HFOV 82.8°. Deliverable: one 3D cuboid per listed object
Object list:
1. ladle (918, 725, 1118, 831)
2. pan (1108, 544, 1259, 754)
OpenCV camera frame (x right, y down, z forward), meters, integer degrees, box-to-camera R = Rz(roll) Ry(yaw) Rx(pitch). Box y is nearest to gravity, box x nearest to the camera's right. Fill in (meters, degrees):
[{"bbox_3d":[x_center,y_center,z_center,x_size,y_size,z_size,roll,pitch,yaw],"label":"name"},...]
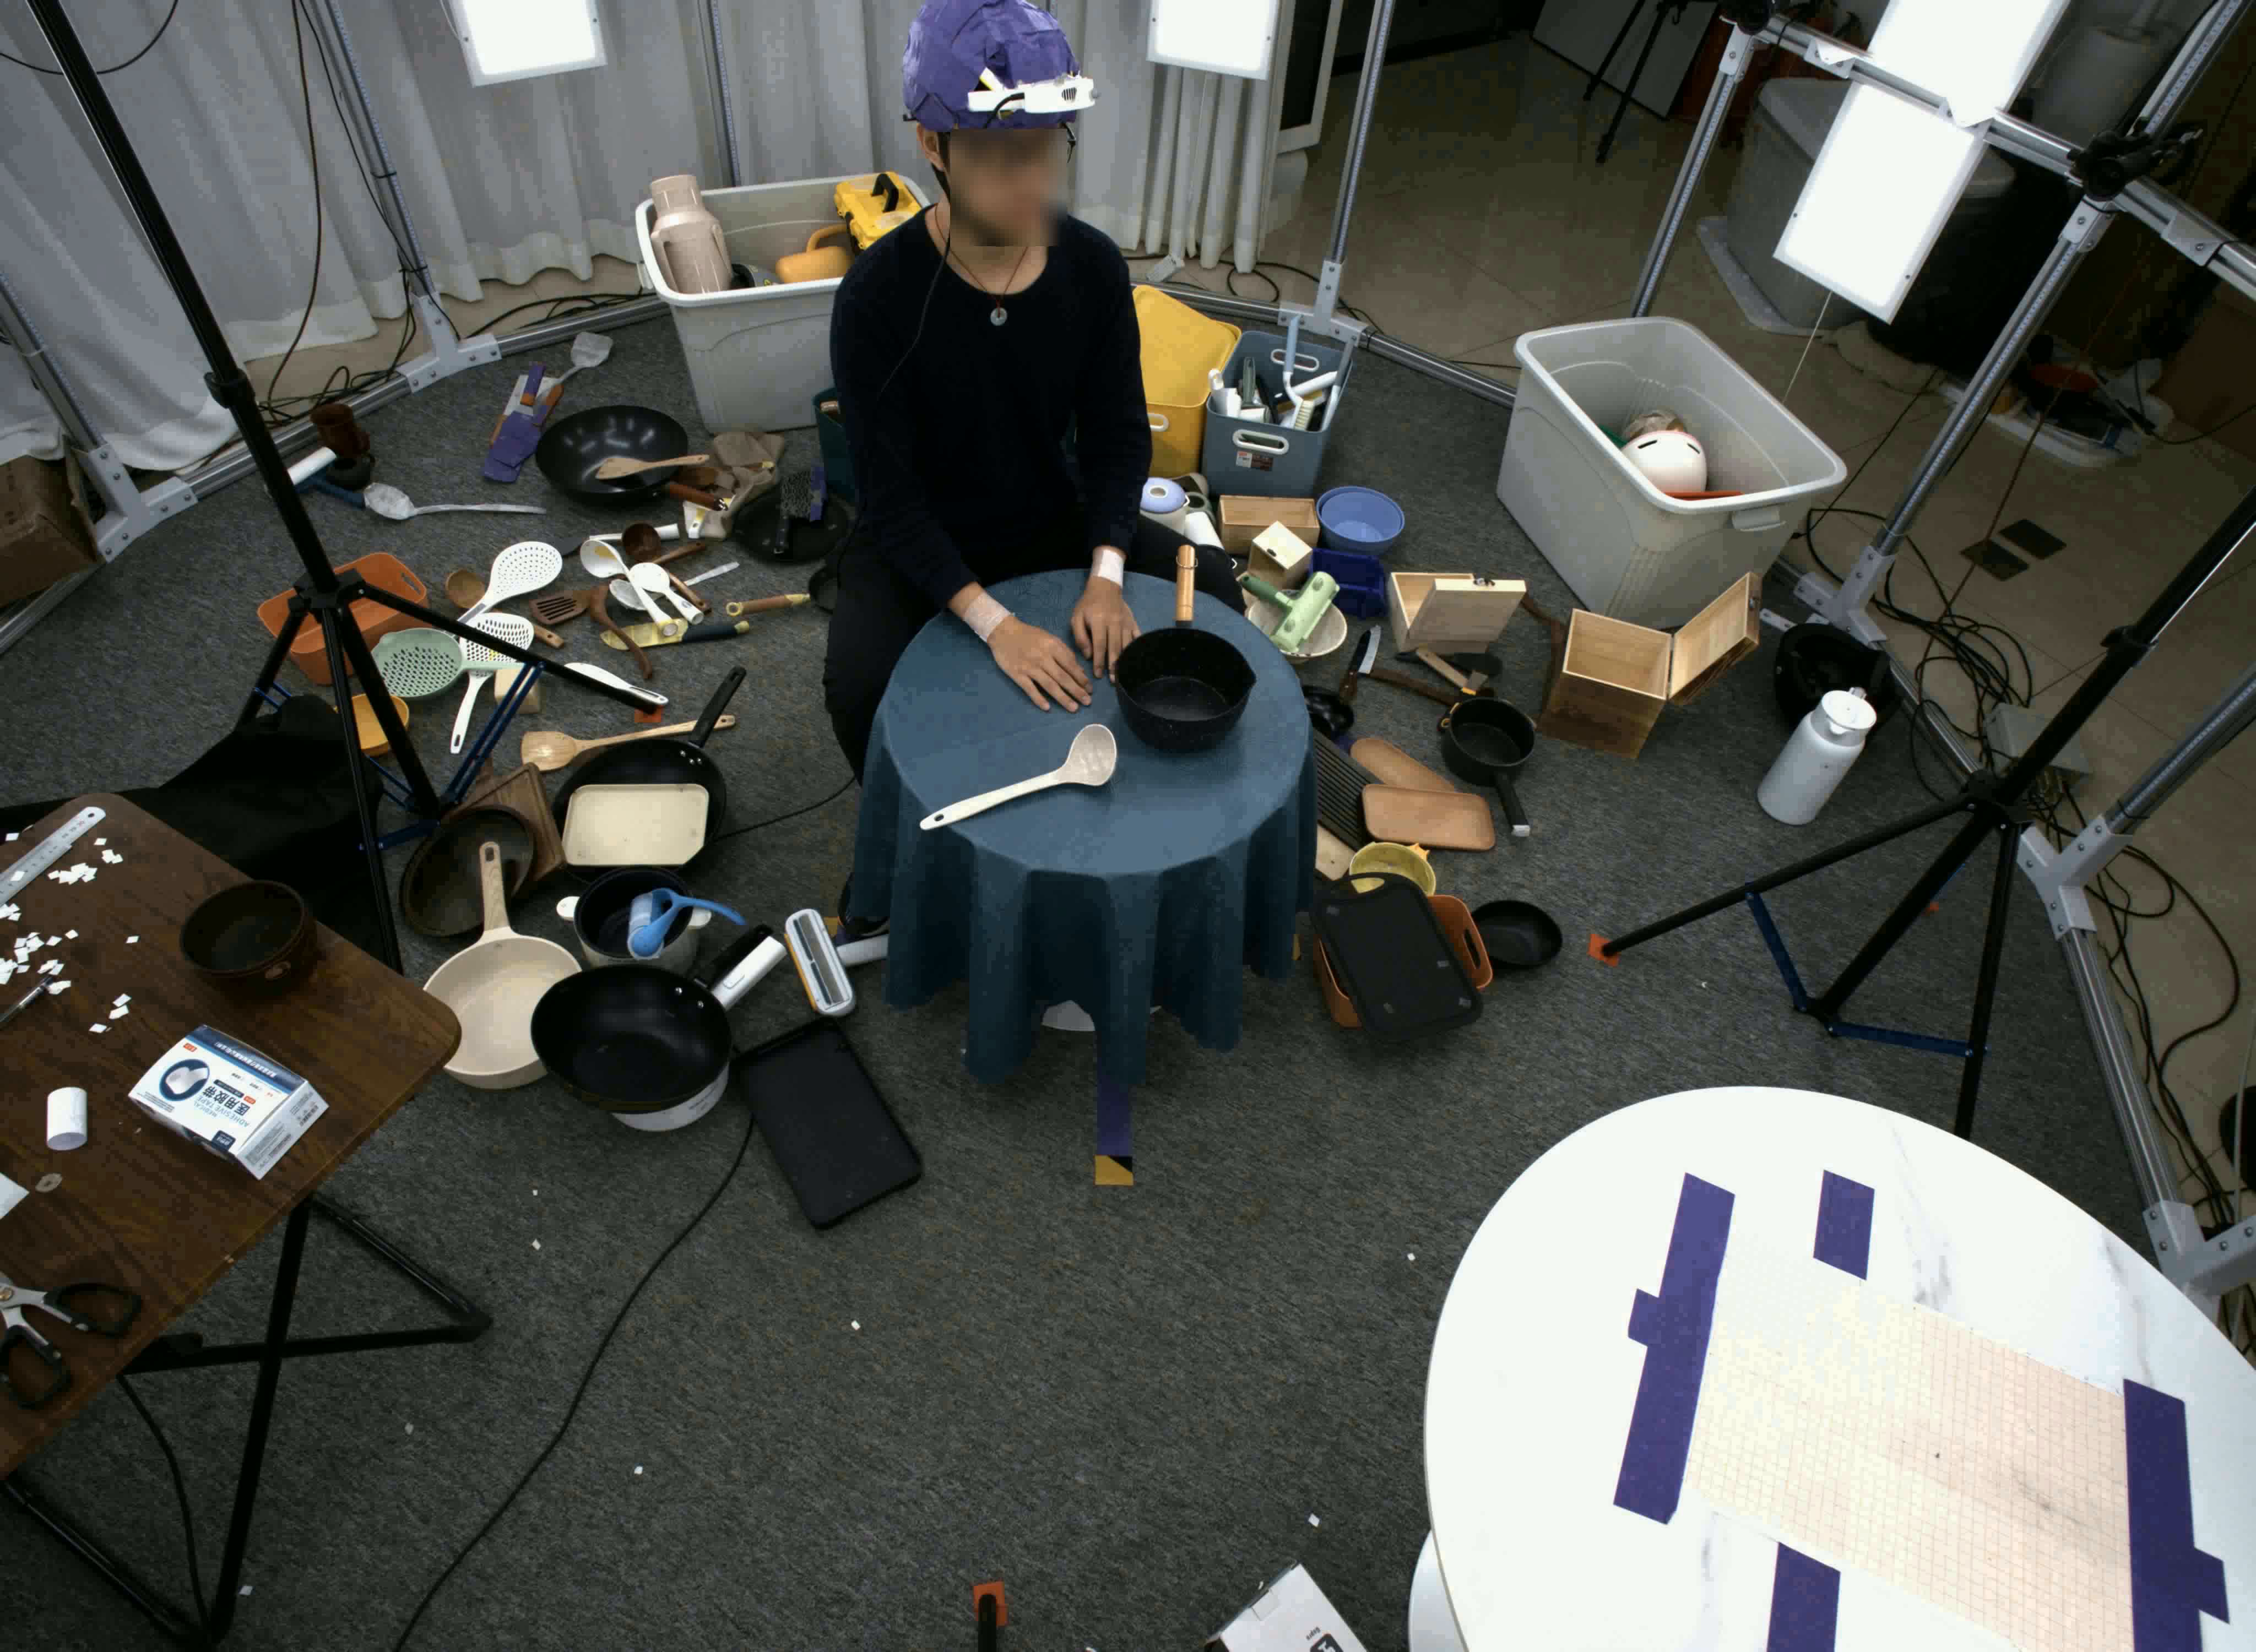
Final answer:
[{"bbox_3d":[-0.143,-0.059,1.669,0.275,0.068,0.091,-19,59,-18],"label":"ladle"},{"bbox_3d":[0.076,-0.252,1.823,0.207,0.105,0.351,2,50,-1],"label":"pan"}]
